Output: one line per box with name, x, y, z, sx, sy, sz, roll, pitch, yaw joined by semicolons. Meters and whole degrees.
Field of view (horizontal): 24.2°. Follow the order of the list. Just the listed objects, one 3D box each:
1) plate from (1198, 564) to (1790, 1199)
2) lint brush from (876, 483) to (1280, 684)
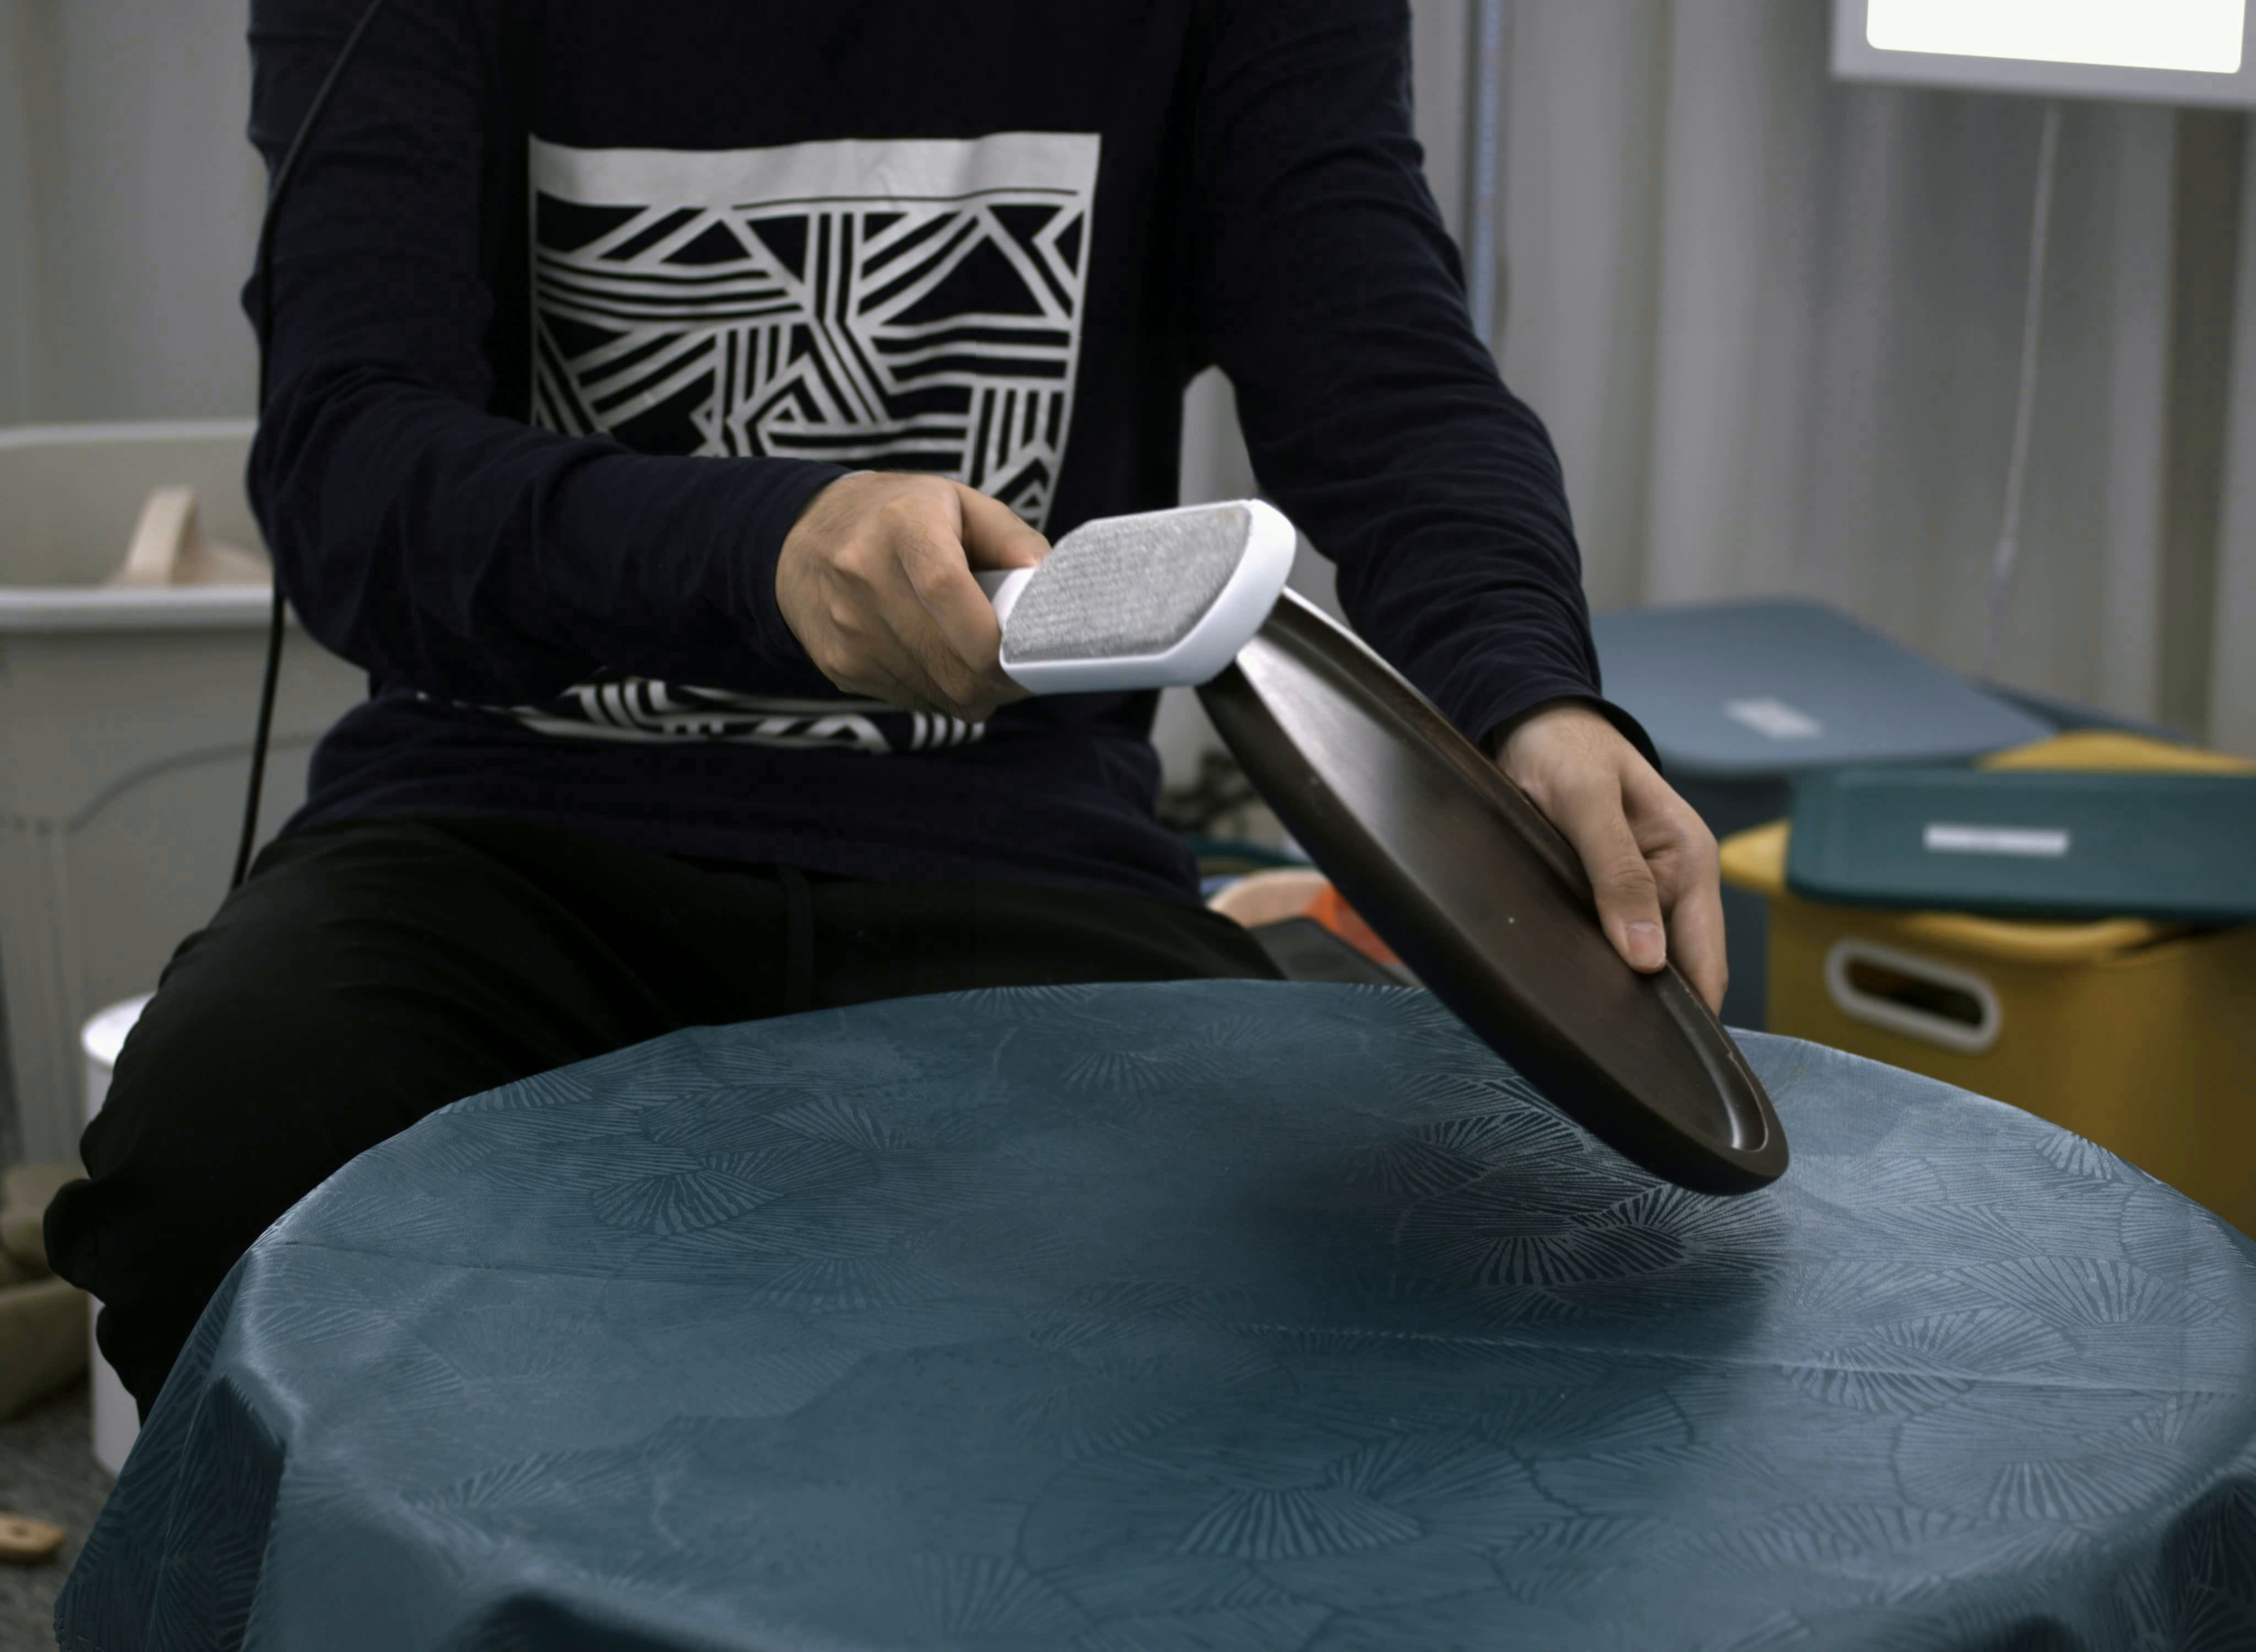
plate;0.106;0.015;1.576;0.029;0.256;0.253;-41;11;11
lint brush;-0.021;-0.072;1.604;0.021;0.060;0.306;28;-9;-19
